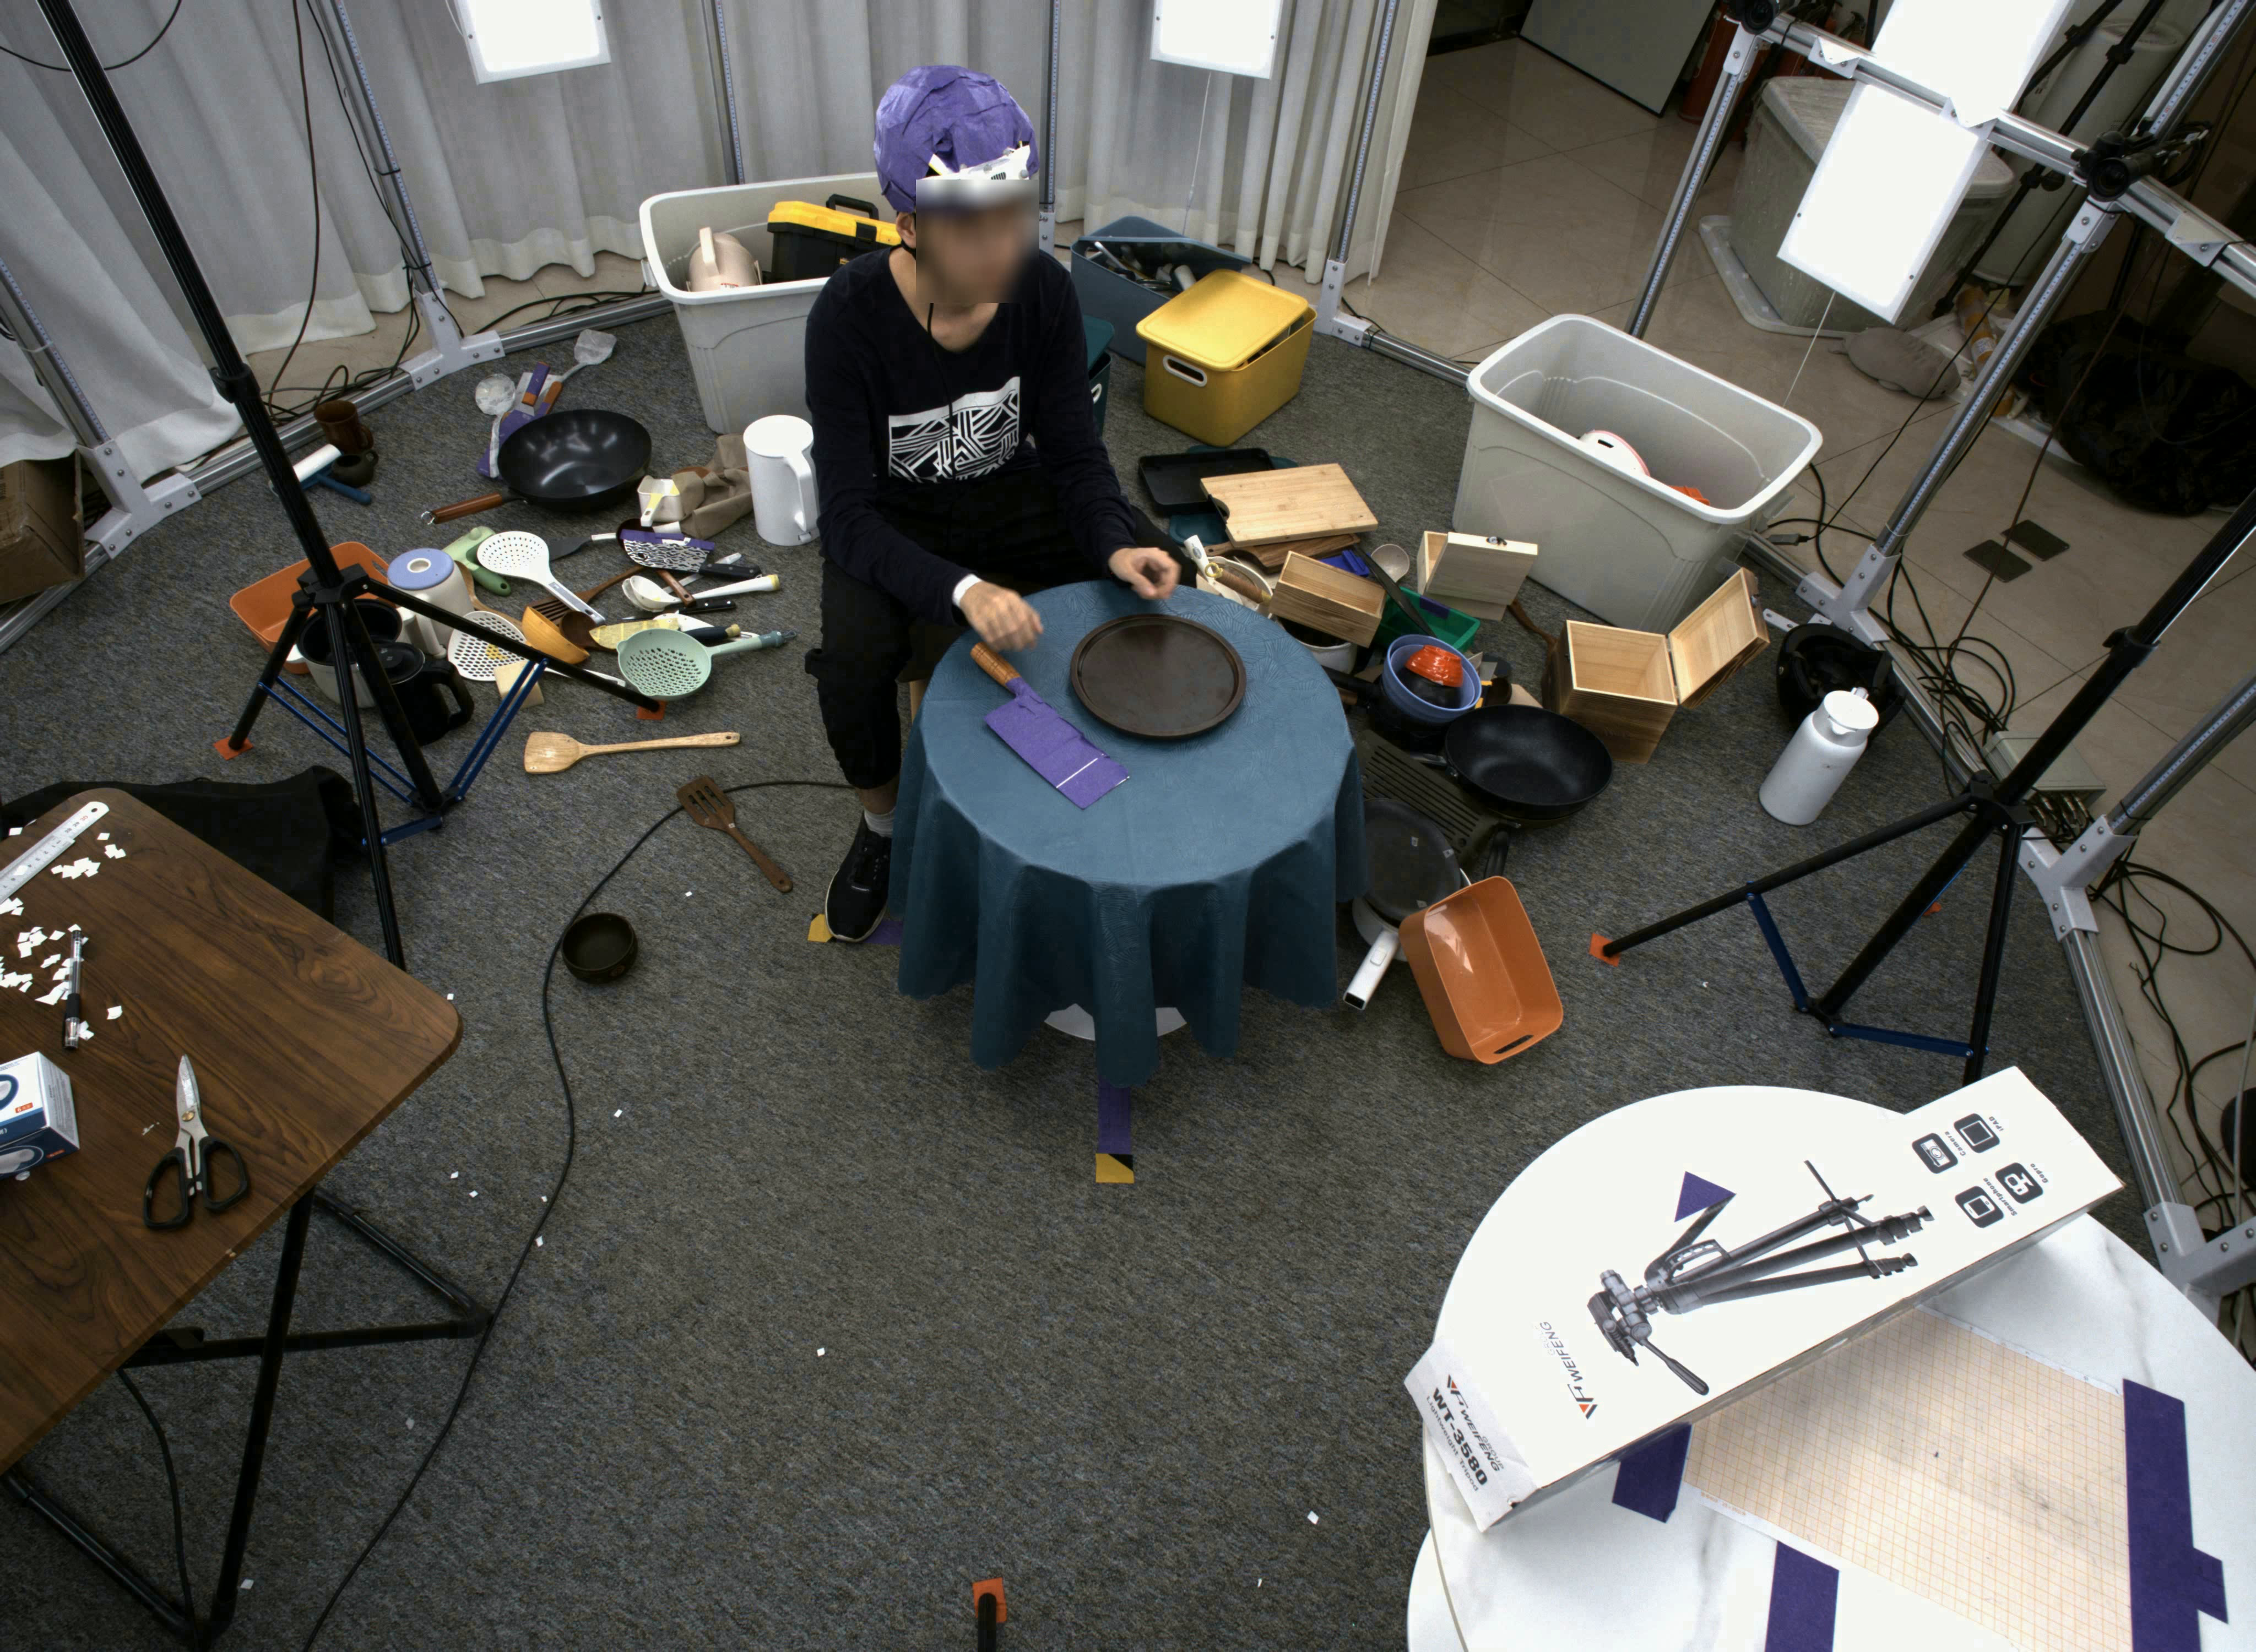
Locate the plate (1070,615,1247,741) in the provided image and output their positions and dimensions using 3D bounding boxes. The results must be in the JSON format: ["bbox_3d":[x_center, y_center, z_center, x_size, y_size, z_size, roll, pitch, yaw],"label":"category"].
[{"bbox_3d":[0.044,-0.214,1.841,0.254,0.028,0.261,2,50,-3],"label":"plate"}]

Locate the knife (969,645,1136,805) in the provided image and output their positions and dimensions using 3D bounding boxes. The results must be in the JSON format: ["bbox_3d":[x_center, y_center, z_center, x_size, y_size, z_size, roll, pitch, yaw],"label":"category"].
[{"bbox_3d":[-0.131,-0.142,1.764,0.105,0.031,0.320,-34,59,-29],"label":"knife"}]
